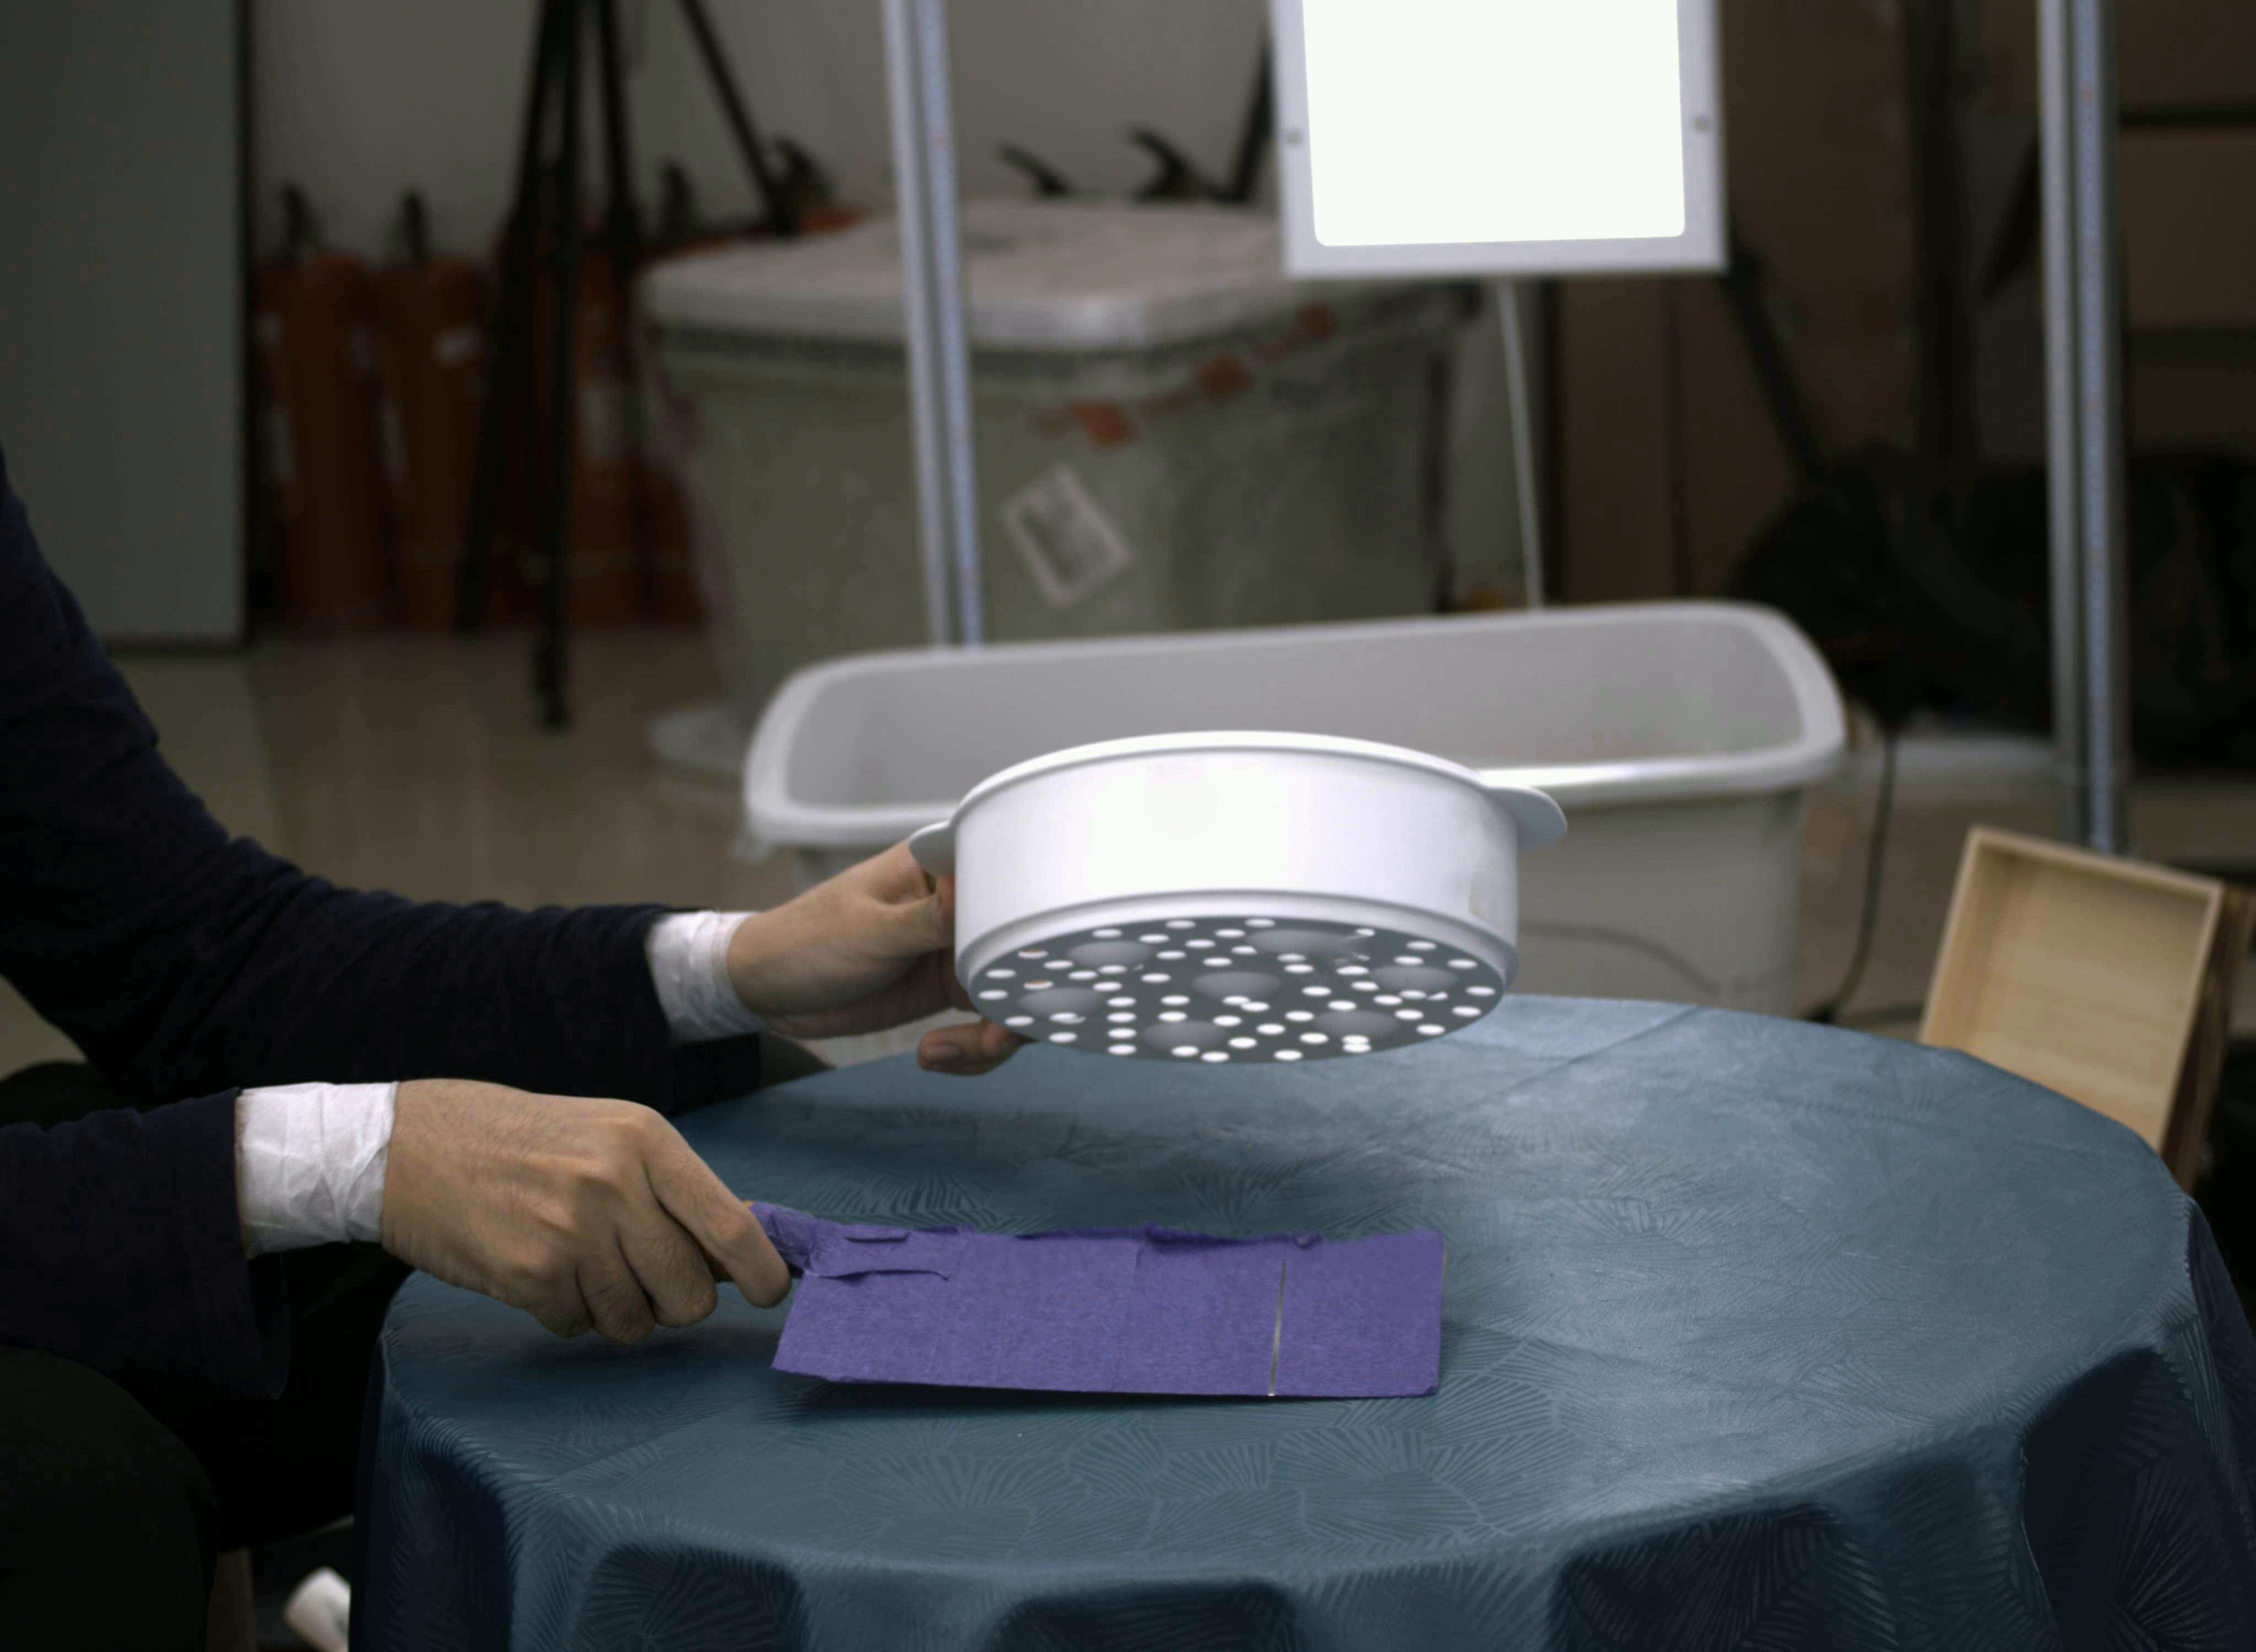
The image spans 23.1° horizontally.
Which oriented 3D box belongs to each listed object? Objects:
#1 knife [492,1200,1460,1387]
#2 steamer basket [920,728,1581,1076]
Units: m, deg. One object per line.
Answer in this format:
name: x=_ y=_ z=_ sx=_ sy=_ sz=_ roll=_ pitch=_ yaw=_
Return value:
knife: x=-0.053 y=0.147 z=1.738 sx=0.317 sy=0.032 sz=0.103 roll=-1 pitch=24 yaw=10
steamer basket: x=0.043 y=0.031 z=1.892 sx=0.233 sy=0.069 sz=0.200 roll=-7 pitch=-19 yaw=15
